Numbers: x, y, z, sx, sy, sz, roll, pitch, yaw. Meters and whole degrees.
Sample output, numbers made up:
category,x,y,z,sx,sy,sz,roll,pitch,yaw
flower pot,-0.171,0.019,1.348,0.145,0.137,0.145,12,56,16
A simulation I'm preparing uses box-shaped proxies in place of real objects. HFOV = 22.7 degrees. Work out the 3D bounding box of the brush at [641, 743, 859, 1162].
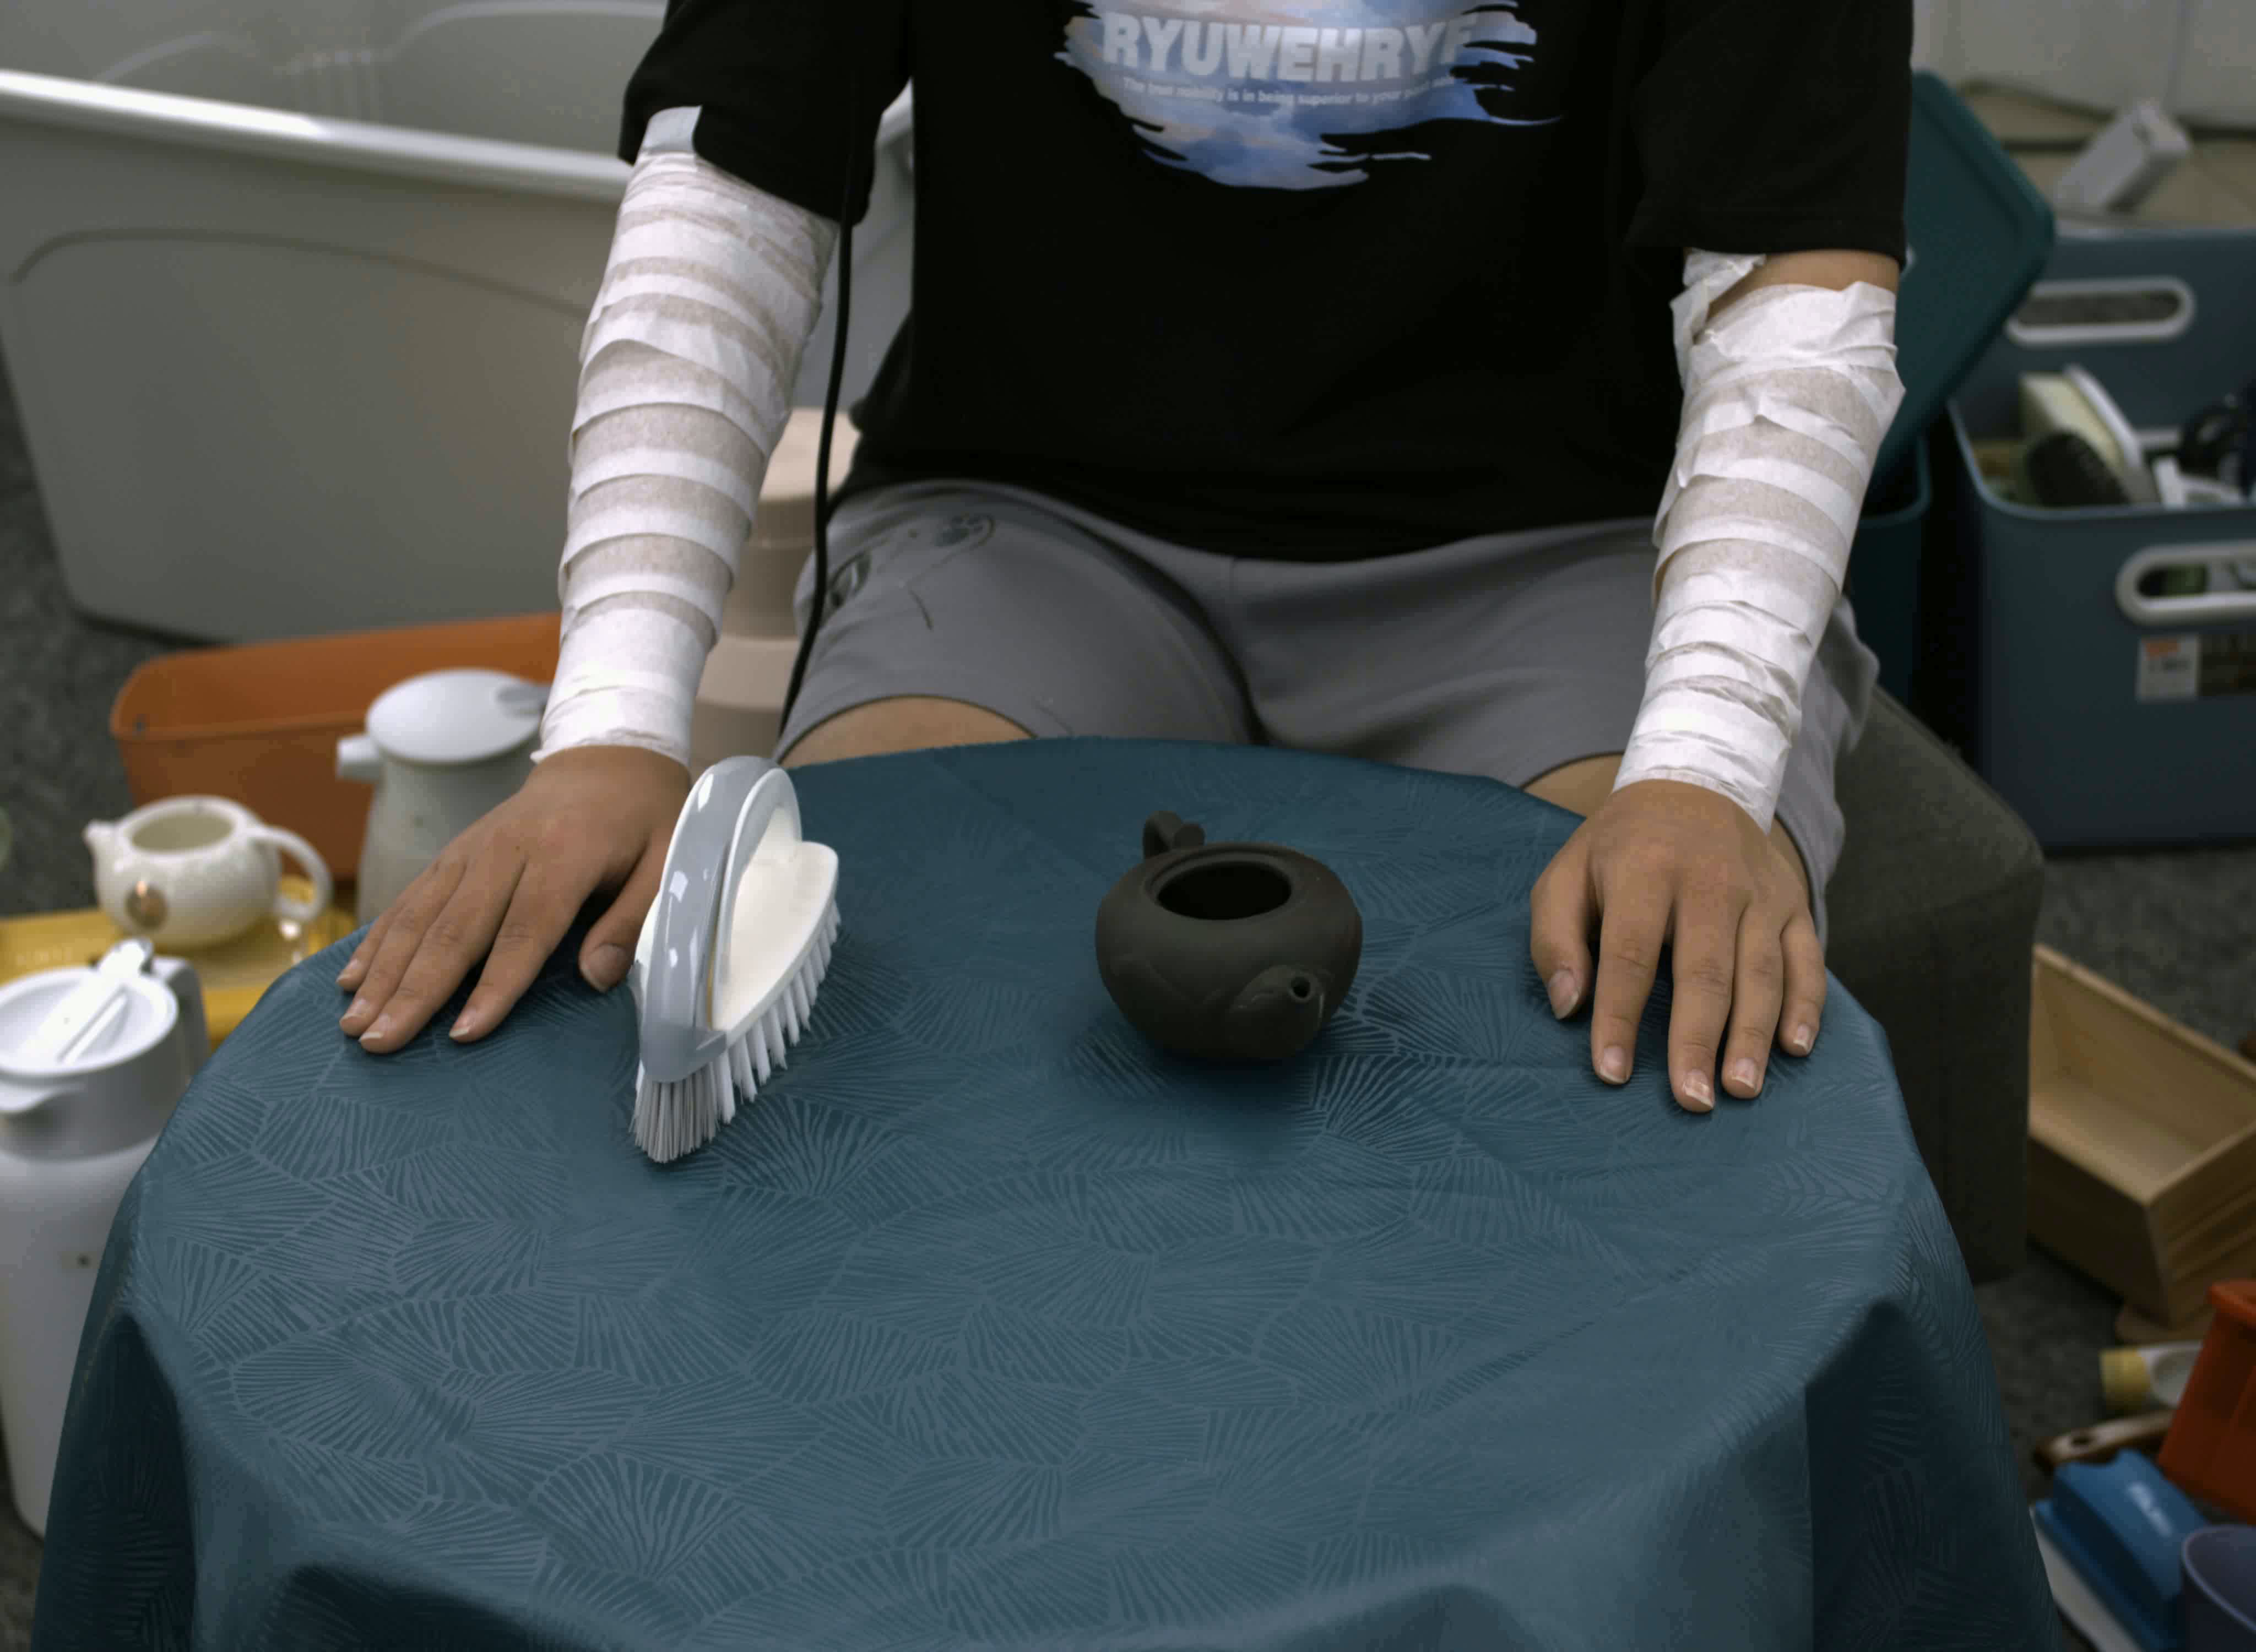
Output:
category,x,y,z,sx,sy,sz,roll,pitch,yaw
brush,-0.140,0.036,1.944,0.061,0.093,0.178,-1,28,12

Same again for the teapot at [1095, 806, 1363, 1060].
category,x,y,z,sx,sy,sz,roll,pitch,yaw
teapot,0.034,0.041,1.946,0.092,0.063,0.155,-11,29,-16
